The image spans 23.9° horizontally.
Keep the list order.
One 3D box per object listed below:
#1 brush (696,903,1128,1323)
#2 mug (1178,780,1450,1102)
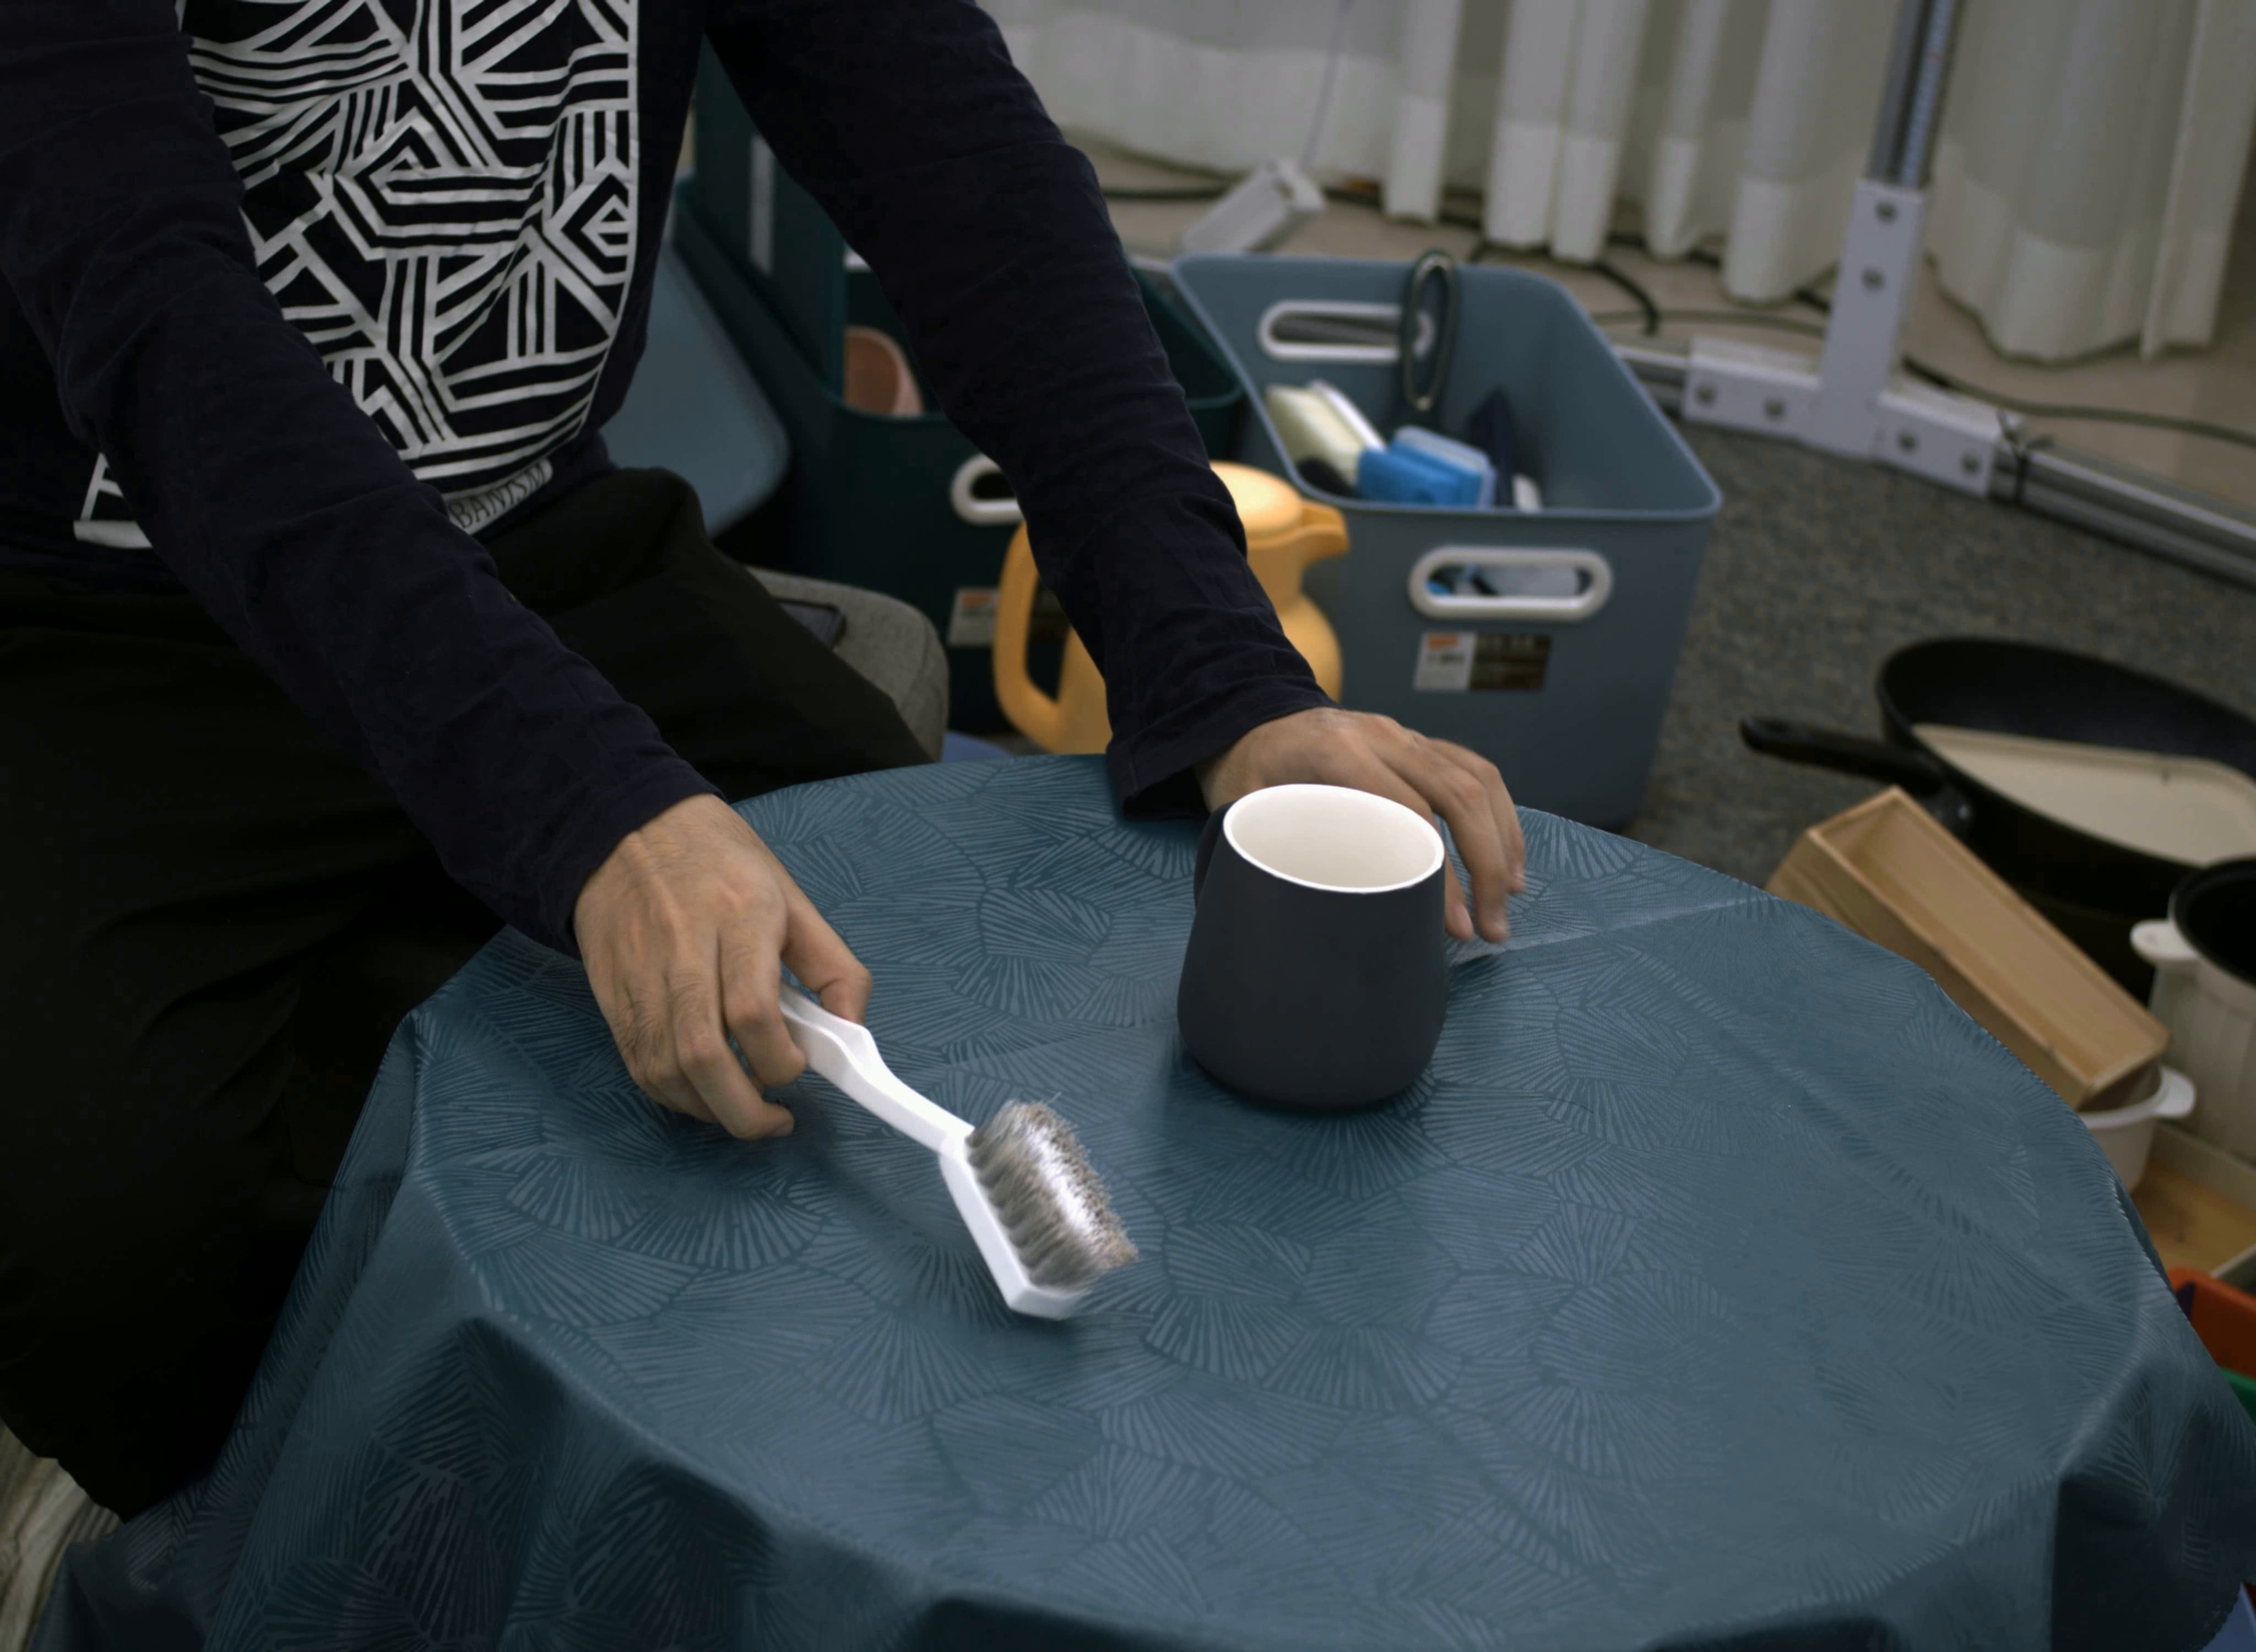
[{"bbox_3d":[-0.077,0.080,1.786,0.034,0.050,0.246,-6,36,-35],"label":"brush"},{"bbox_3d":[0.061,0.034,1.892,0.093,0.089,0.124,-5,30,-26],"label":"mug"}]
